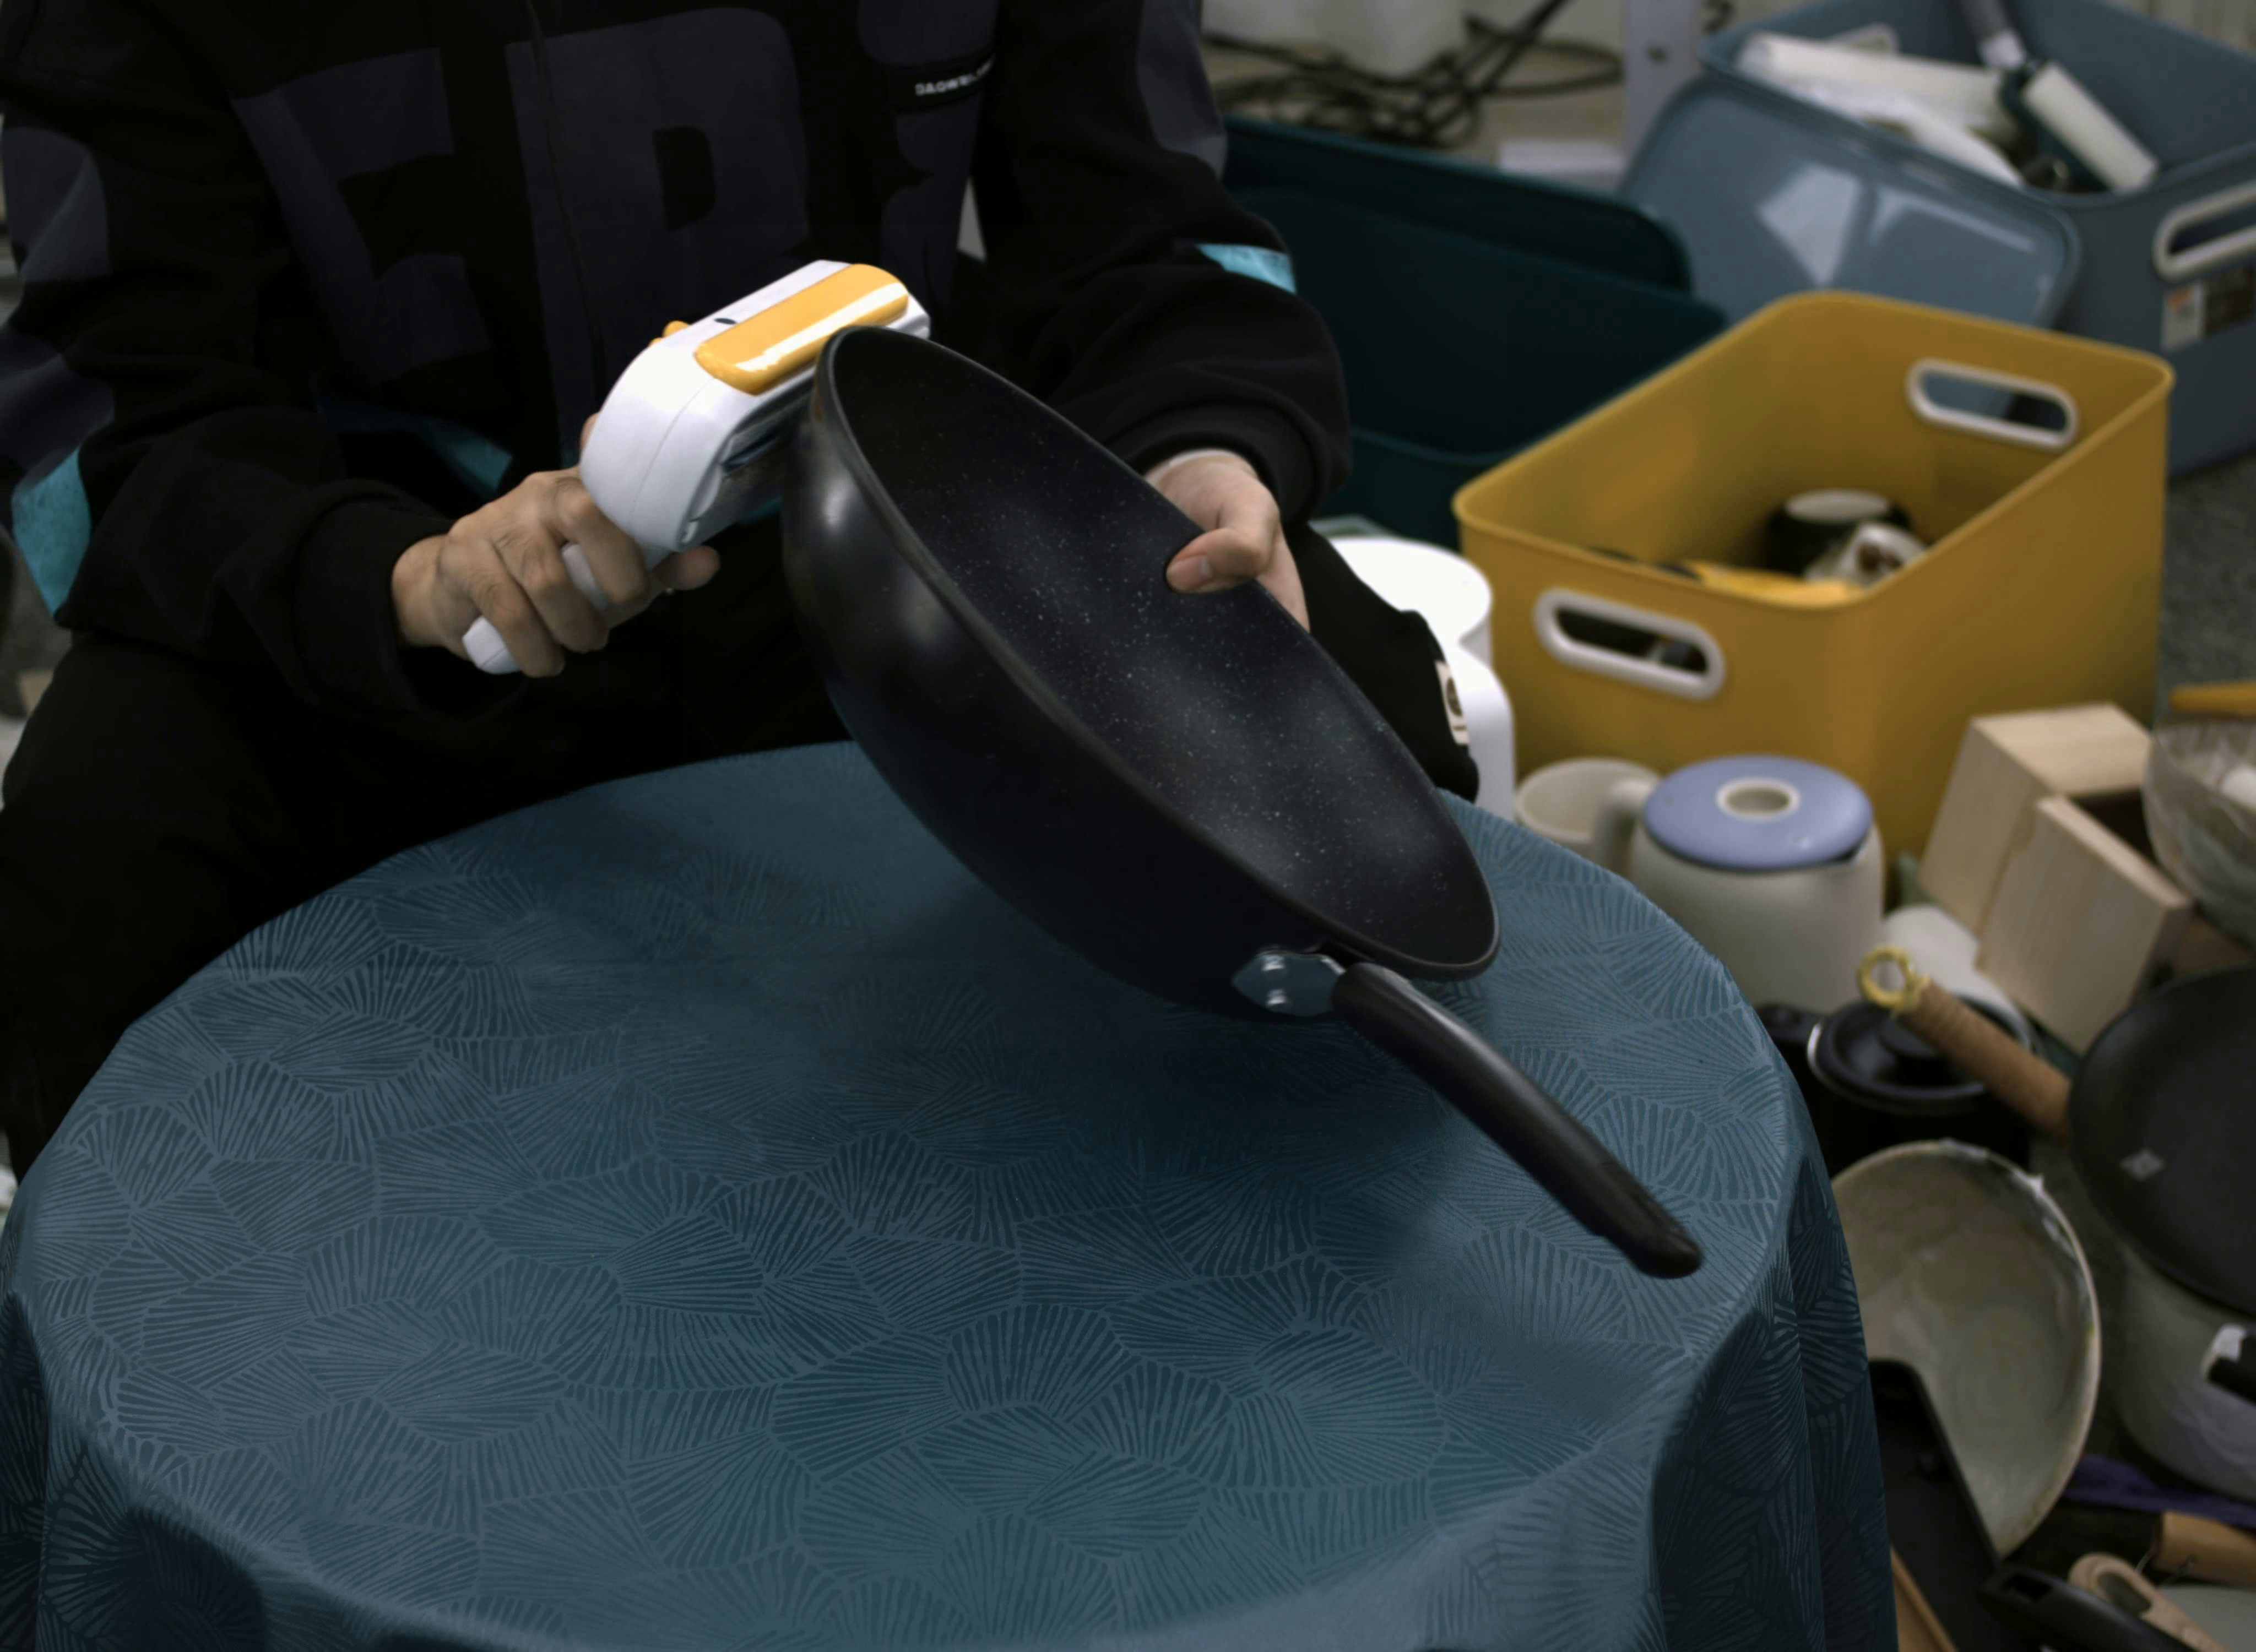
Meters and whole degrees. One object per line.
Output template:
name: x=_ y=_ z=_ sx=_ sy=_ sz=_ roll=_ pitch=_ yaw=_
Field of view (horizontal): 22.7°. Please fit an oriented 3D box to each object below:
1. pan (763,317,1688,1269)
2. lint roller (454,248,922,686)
pan: x=0.028 y=0.009 z=1.860 sx=0.309 sy=0.110 sz=0.482 roll=24 pitch=24 yaw=-47
lint roller: x=-0.165 y=-0.113 z=1.983 sx=0.074 sy=0.190 sz=0.195 roll=38 pitch=23 yaw=1
